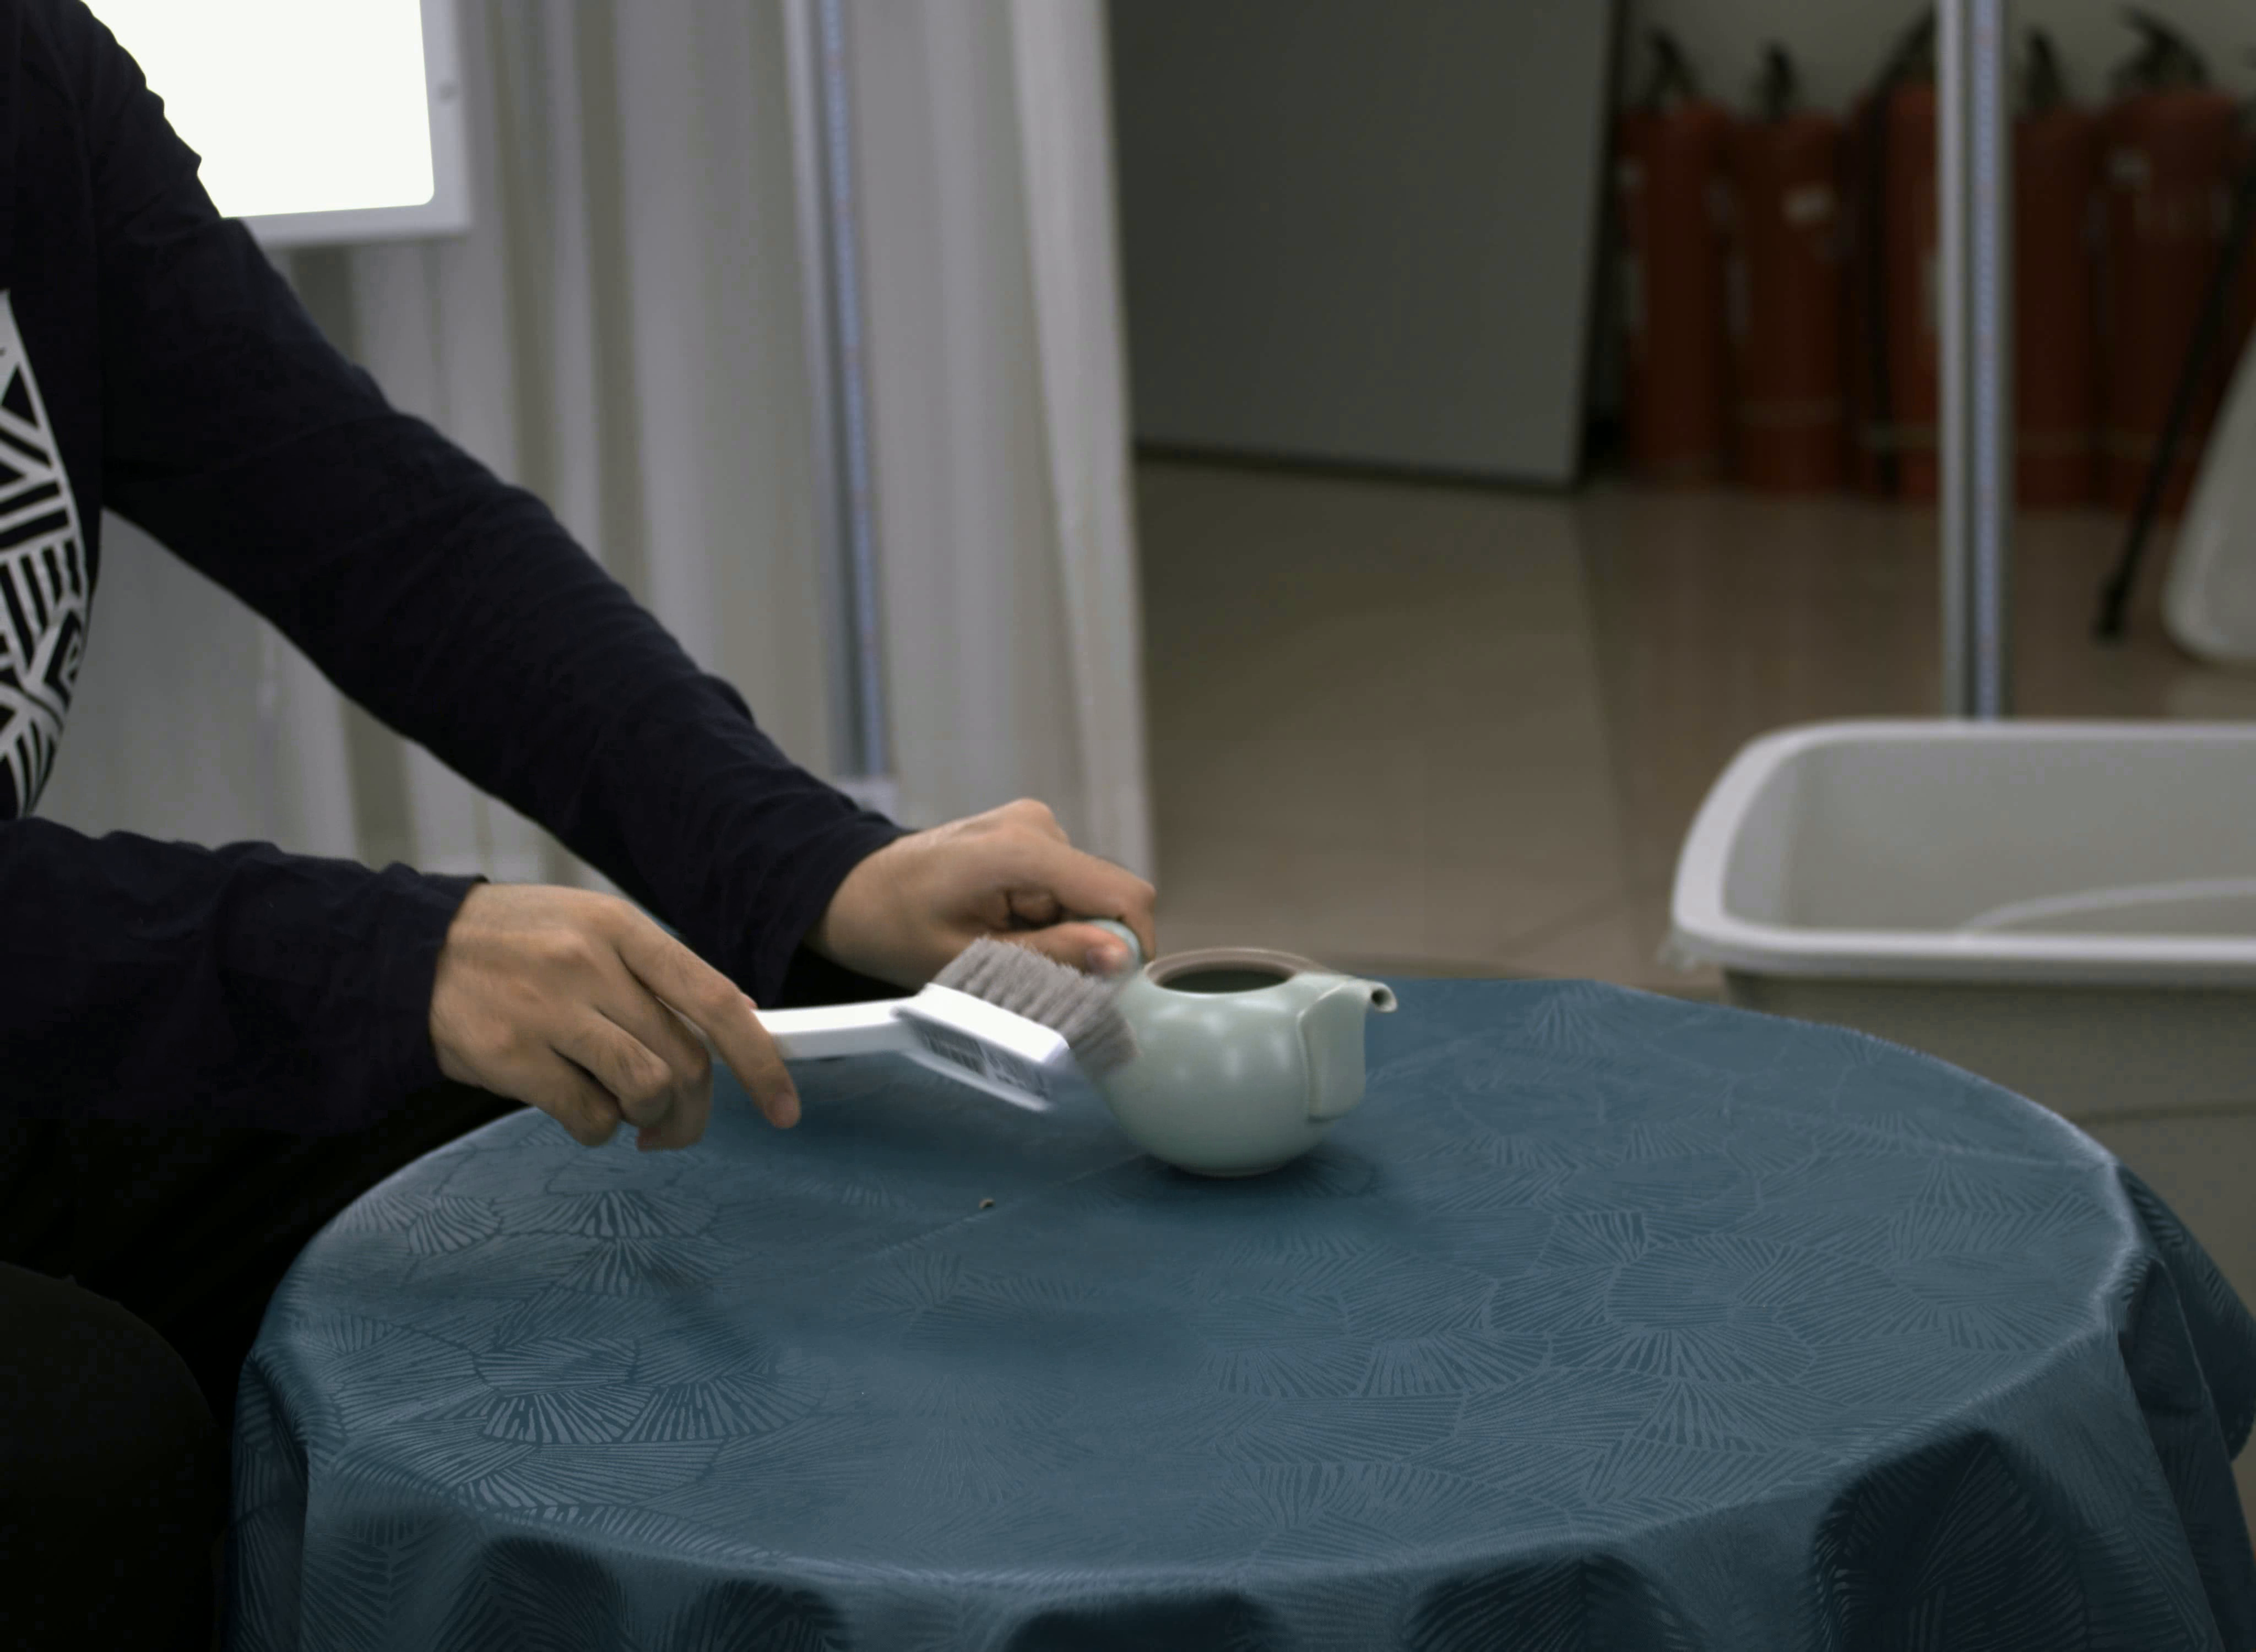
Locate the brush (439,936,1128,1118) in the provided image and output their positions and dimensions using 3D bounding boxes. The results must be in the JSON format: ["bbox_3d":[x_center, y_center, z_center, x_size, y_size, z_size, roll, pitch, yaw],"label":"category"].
[{"bbox_3d":[-0.111,0.058,1.719,0.244,0.034,0.050,2,50,30],"label":"brush"}]

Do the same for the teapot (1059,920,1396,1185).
[{"bbox_3d":[0.033,0.077,1.791,0.145,0.075,0.086,13,22,43],"label":"teapot"}]
